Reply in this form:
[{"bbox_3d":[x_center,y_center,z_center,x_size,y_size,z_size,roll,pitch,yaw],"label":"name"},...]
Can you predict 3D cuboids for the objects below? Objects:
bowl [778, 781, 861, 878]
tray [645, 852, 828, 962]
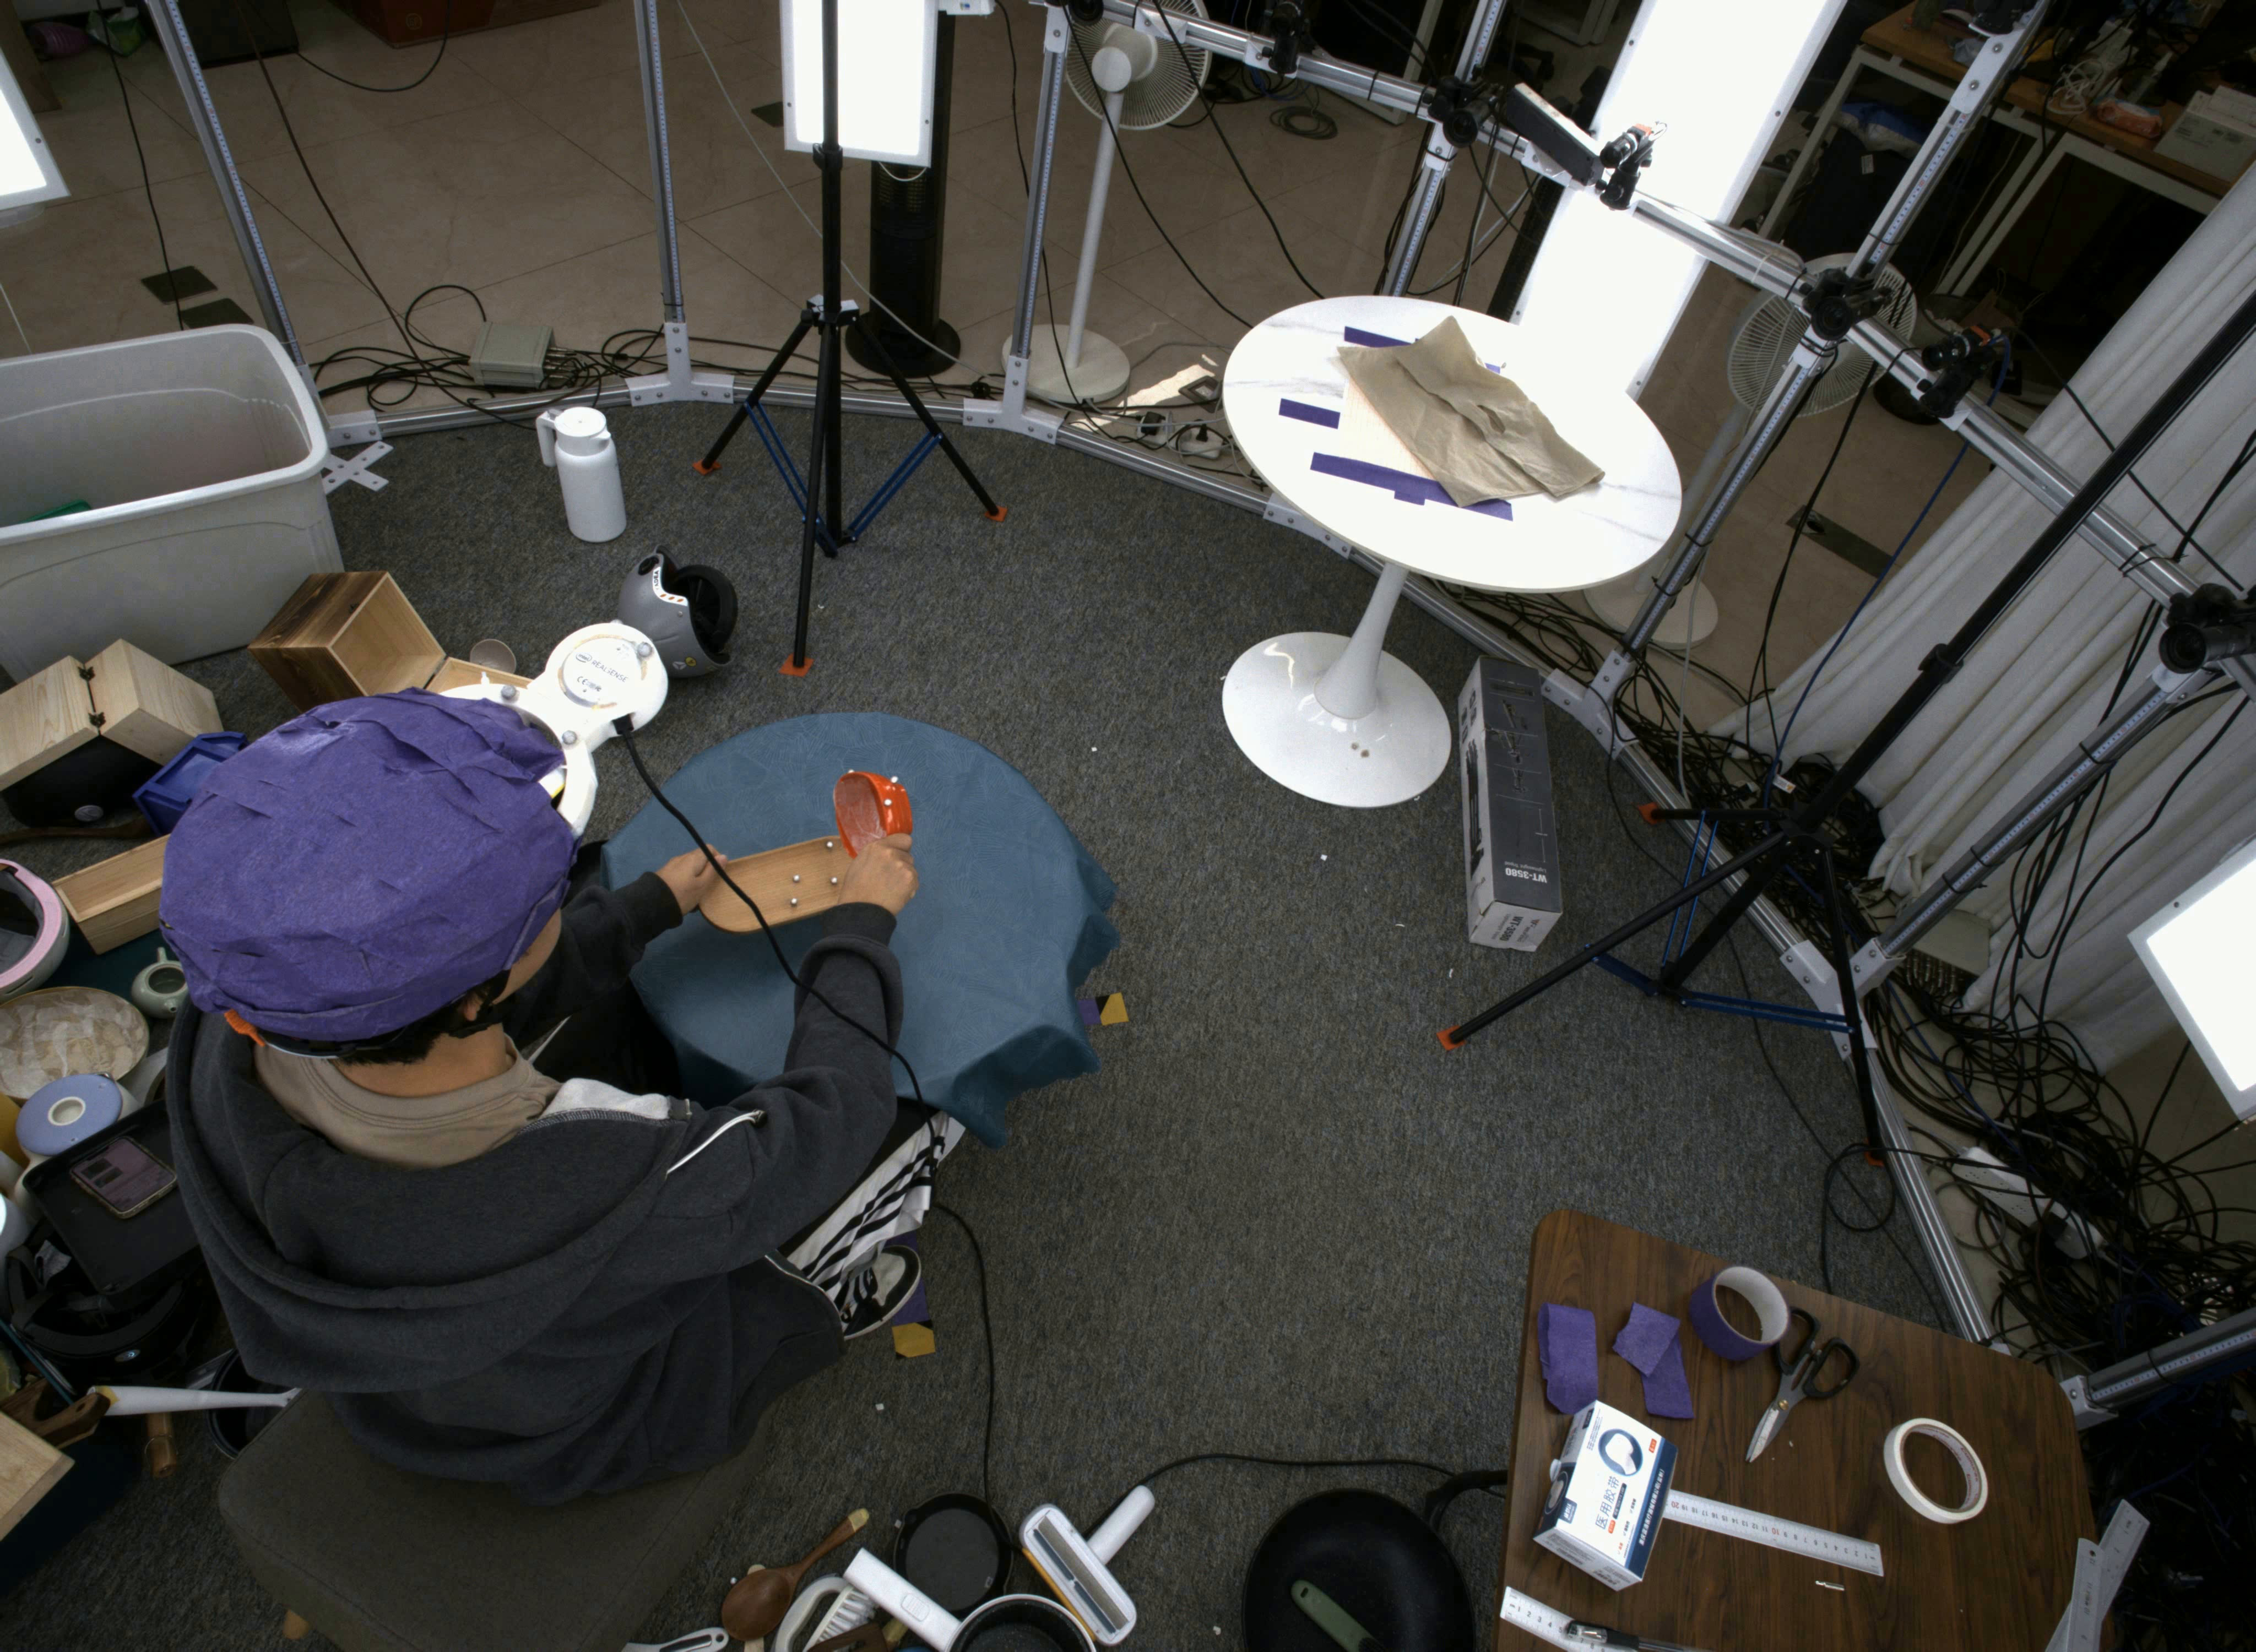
[{"bbox_3d":[-0.352,-0.001,1.502,0.052,0.120,0.116,-18,57,-46],"label":"bowl"},{"bbox_3d":[-0.471,0.094,1.562,0.233,0.020,0.100,-21,68,-37],"label":"tray"}]
